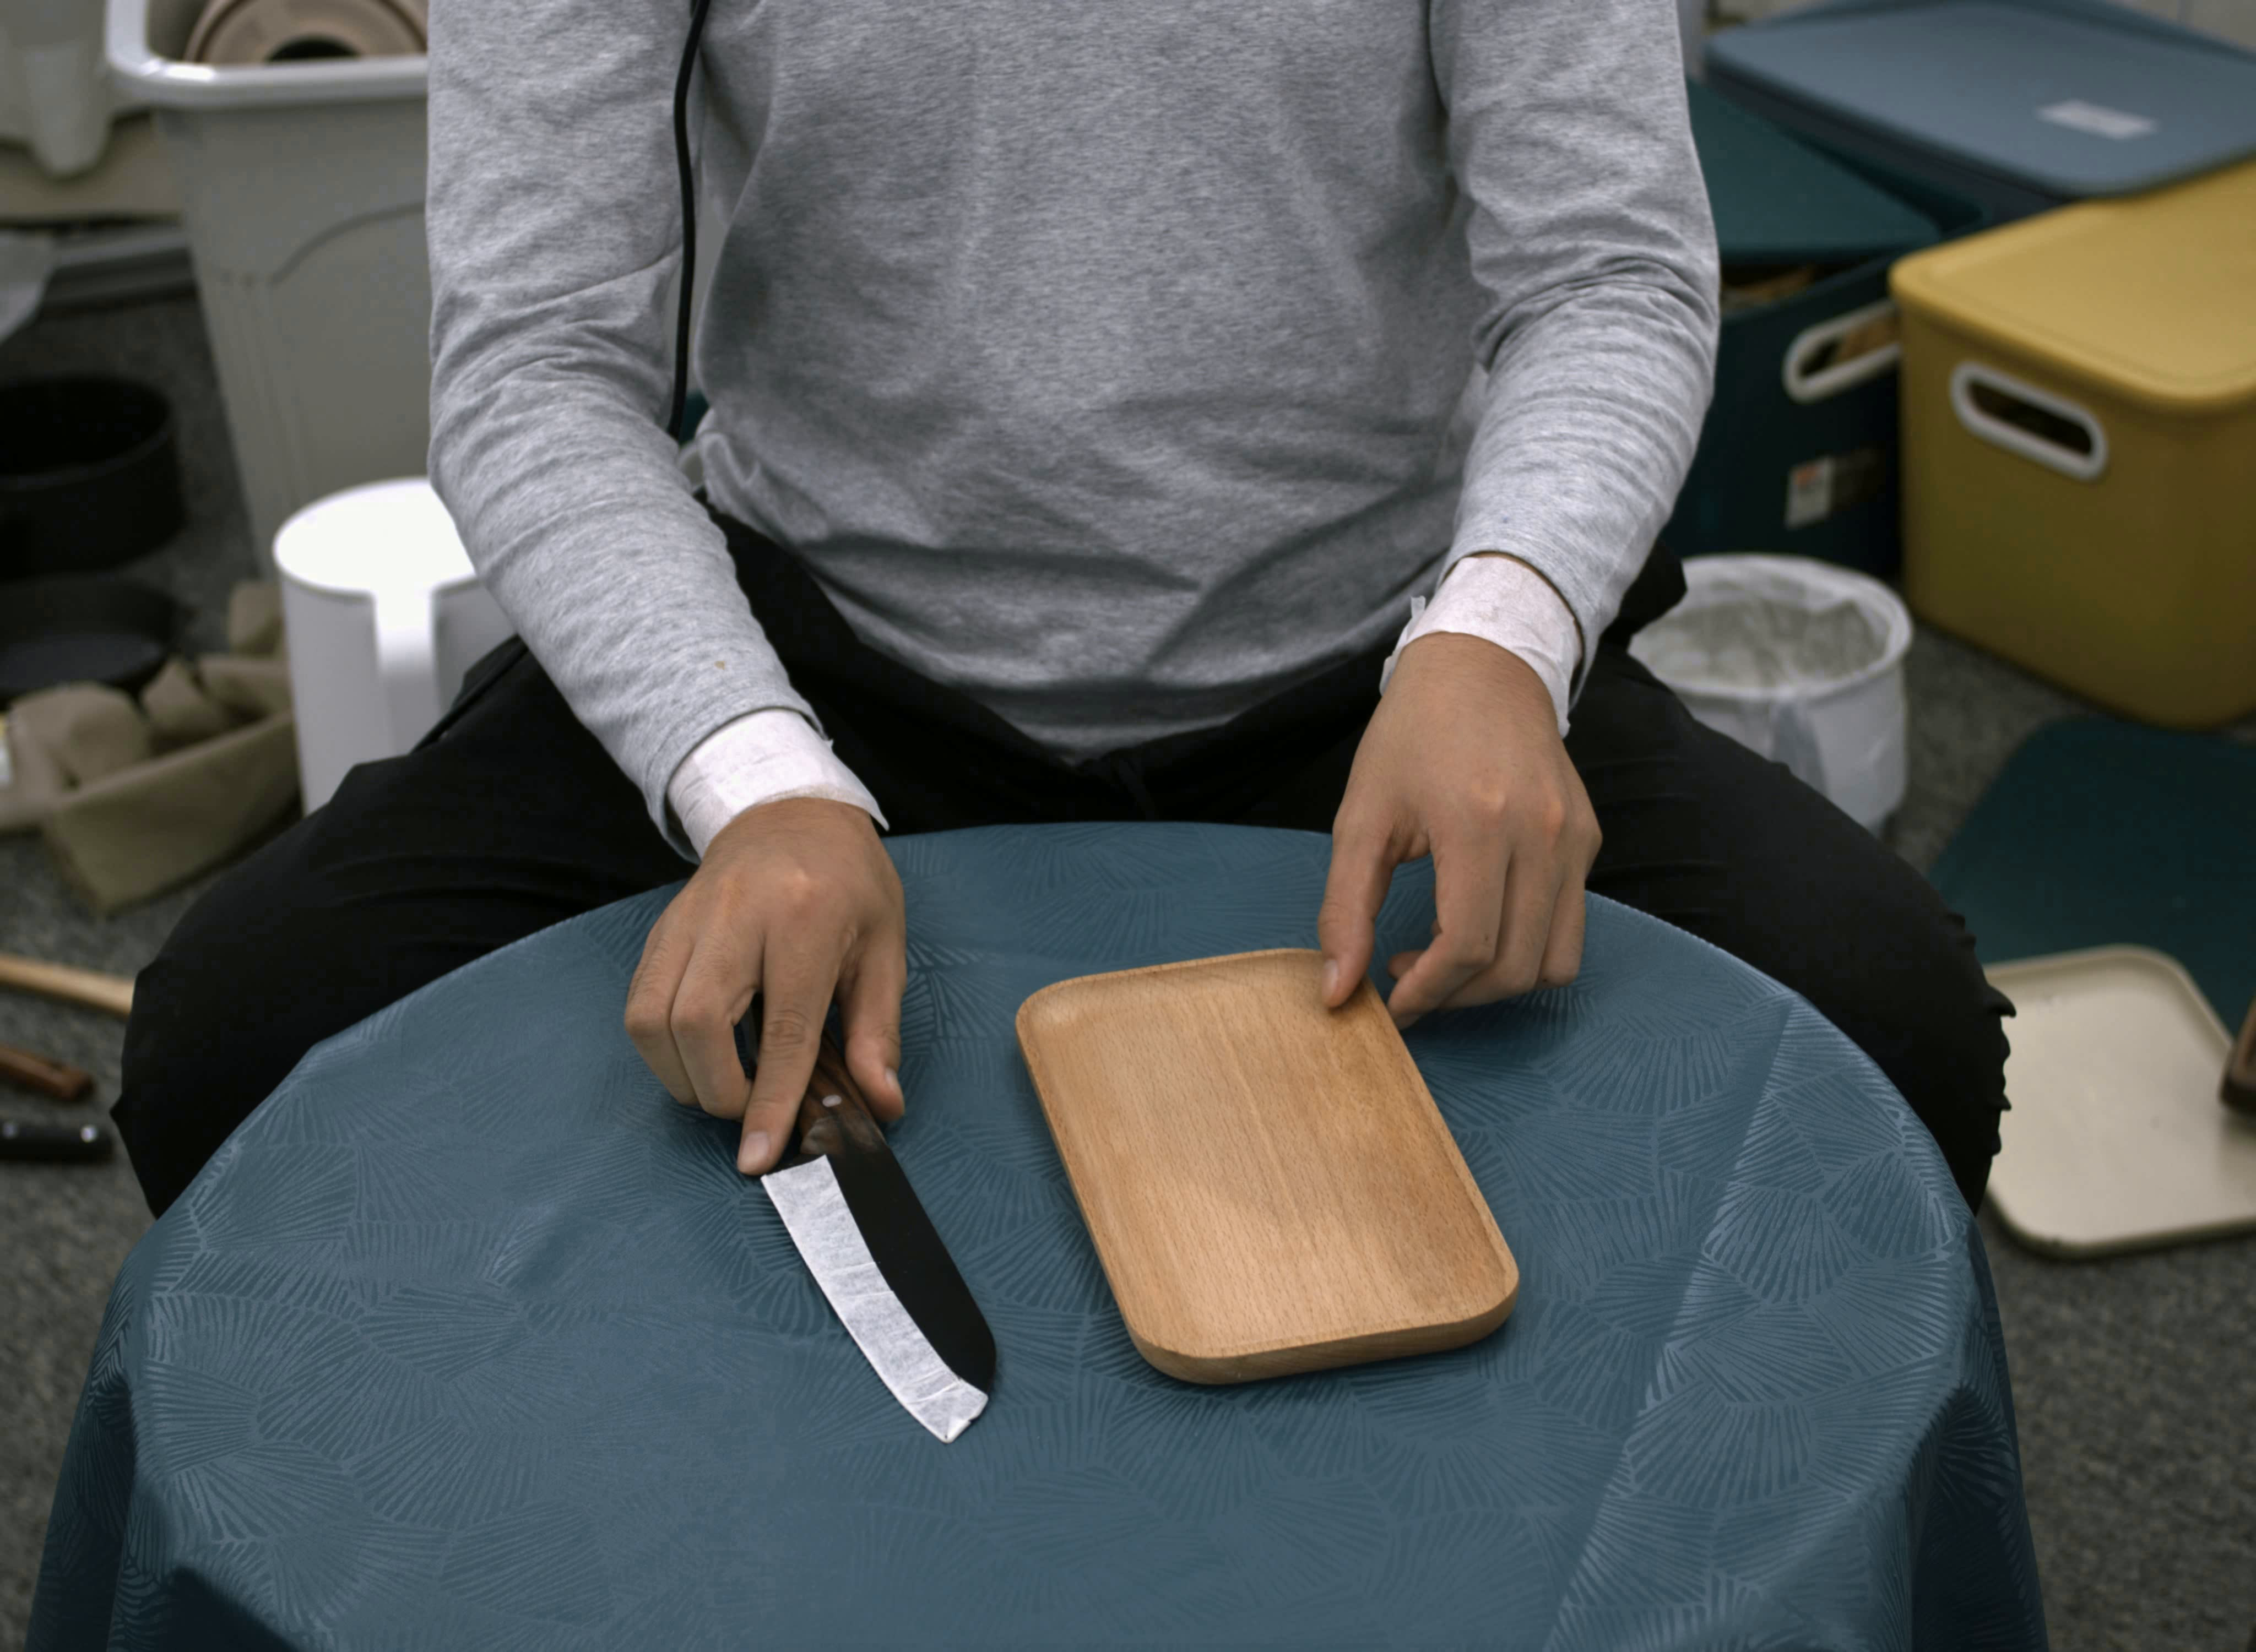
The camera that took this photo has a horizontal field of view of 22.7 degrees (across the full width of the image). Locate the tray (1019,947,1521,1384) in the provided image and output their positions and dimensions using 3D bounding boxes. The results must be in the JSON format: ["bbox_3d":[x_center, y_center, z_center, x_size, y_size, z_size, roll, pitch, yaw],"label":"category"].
[{"bbox_3d":[0.043,0.110,1.863,0.130,0.022,0.253,-5,26,-9],"label":"tray"}]

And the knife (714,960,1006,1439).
[{"bbox_3d":[-0.093,0.122,1.855,0.050,0.020,0.292,-16,31,-10],"label":"knife"}]
